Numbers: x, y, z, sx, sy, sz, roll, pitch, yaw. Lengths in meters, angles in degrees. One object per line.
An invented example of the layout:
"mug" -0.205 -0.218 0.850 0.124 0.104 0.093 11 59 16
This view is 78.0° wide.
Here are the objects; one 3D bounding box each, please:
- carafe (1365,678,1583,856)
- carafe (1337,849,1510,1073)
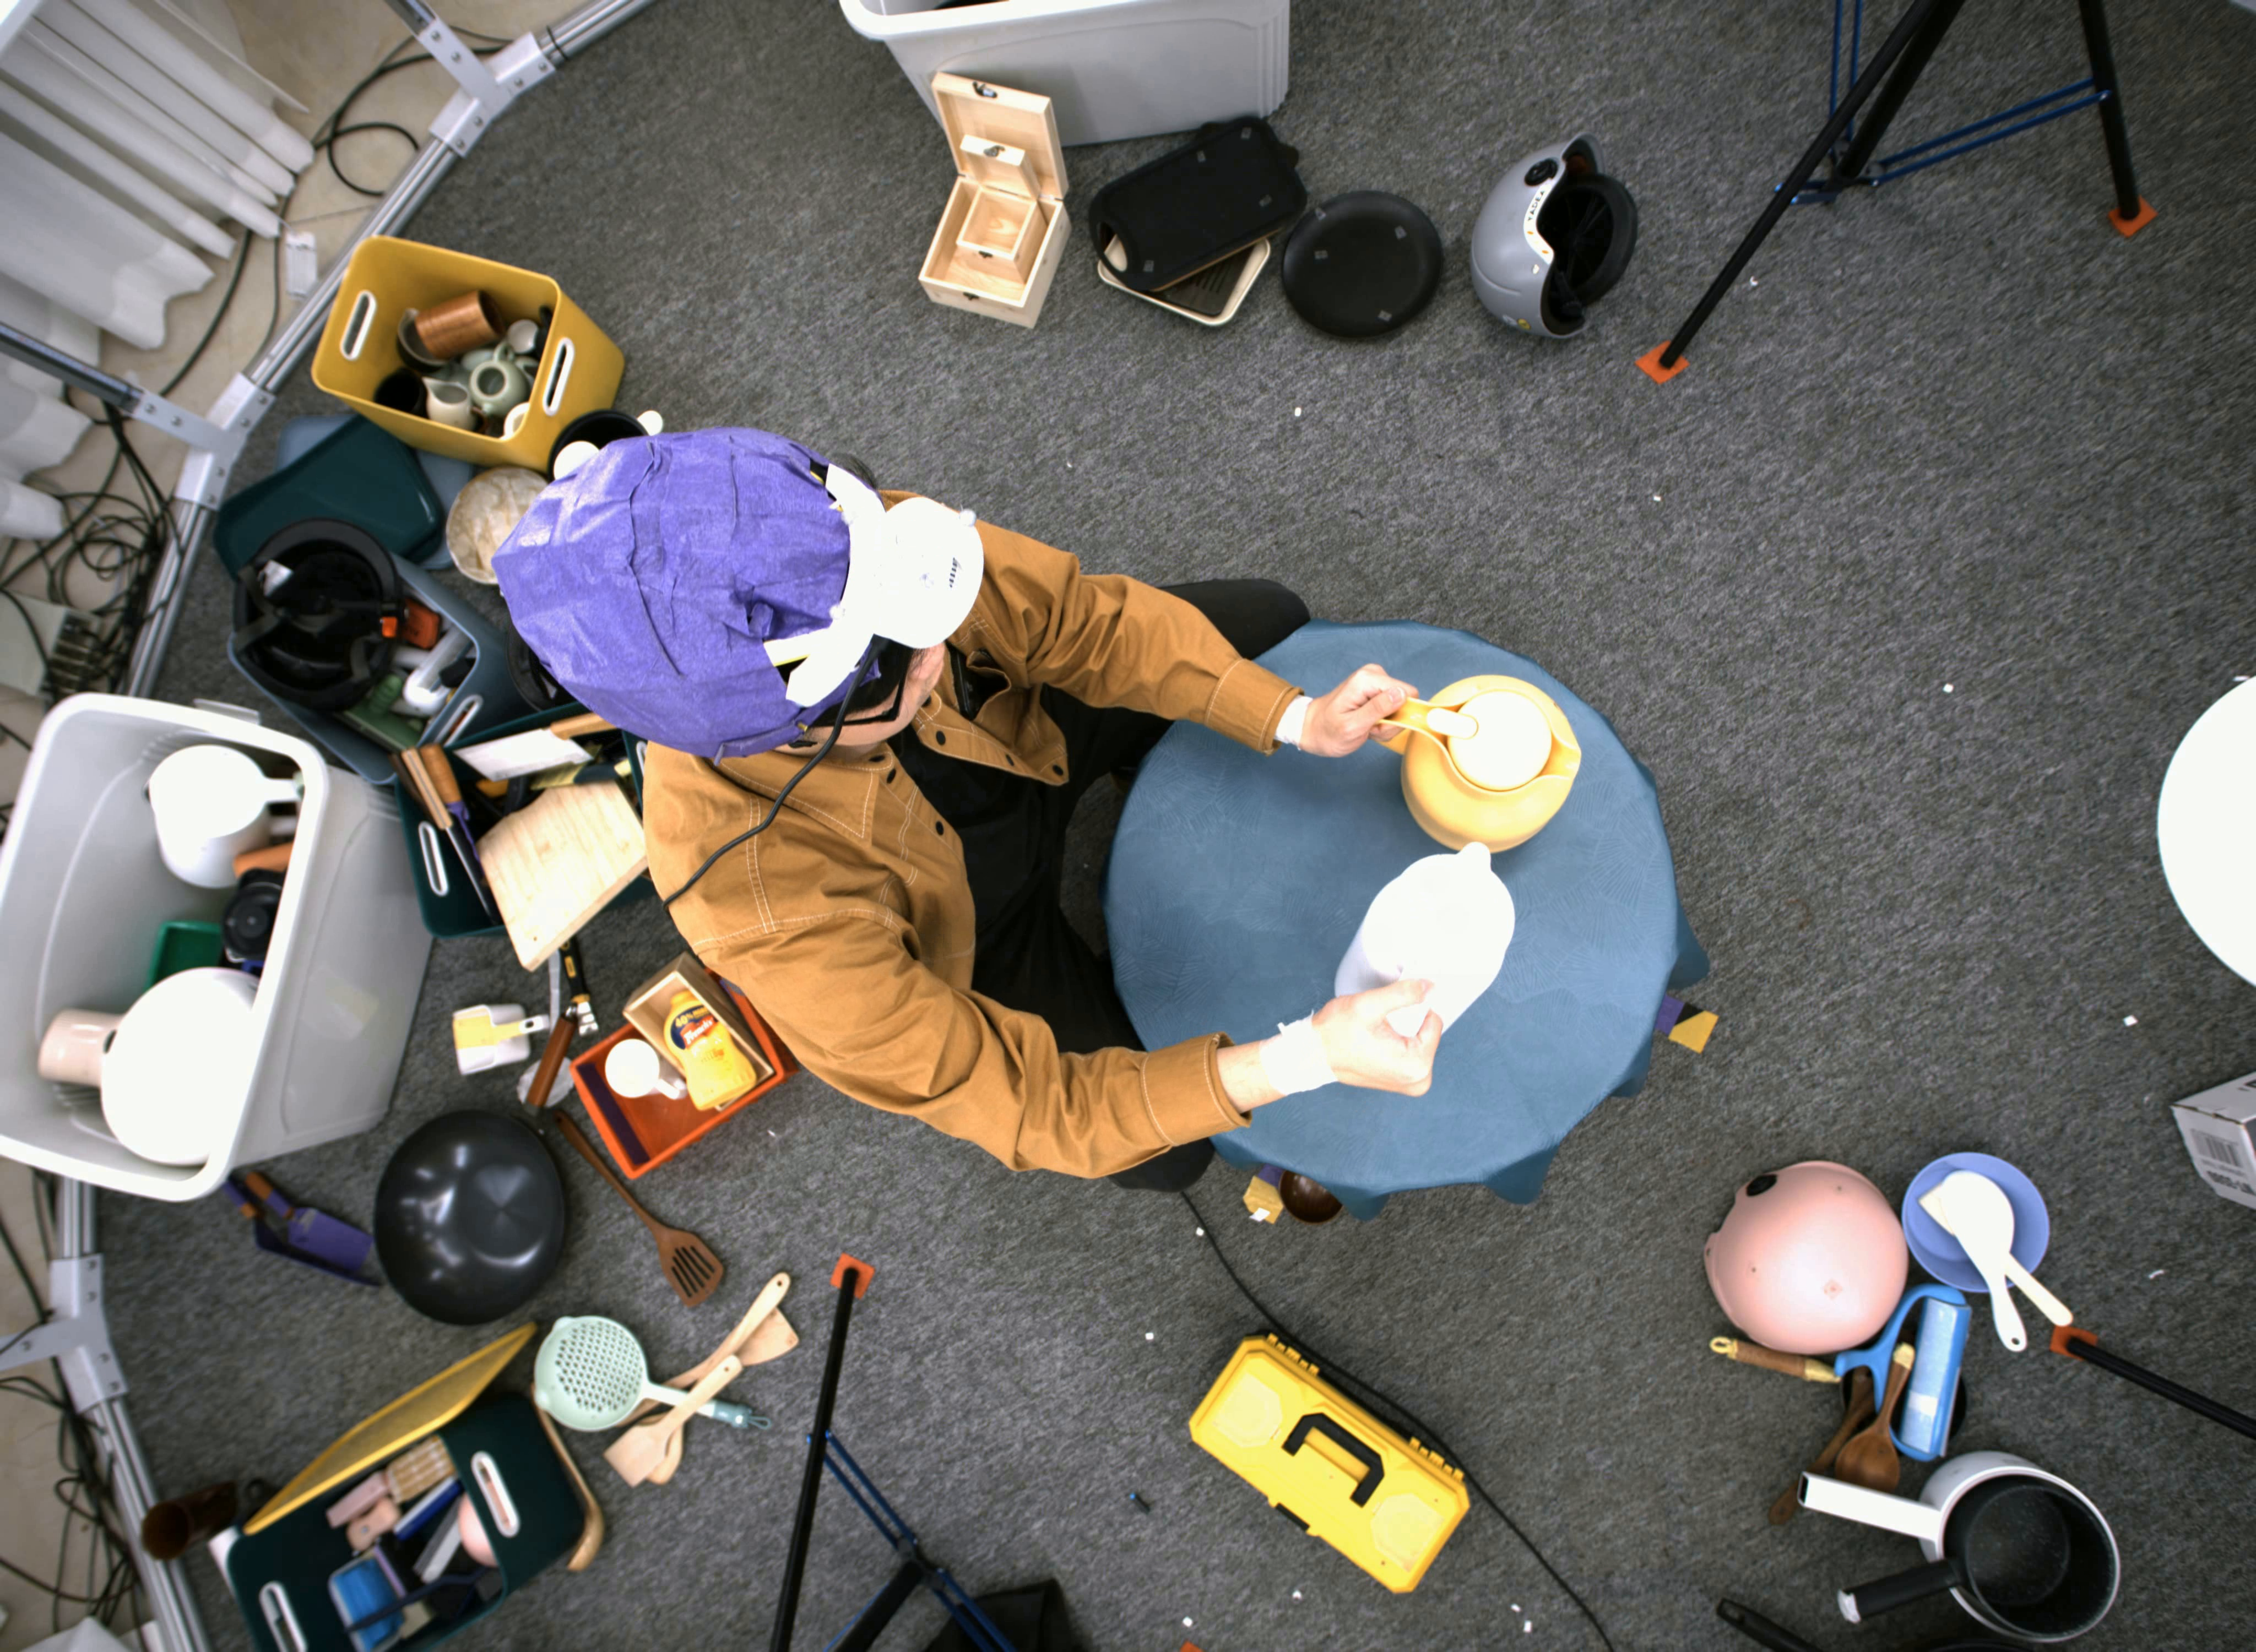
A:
"carafe" 0.329 -0.071 1.323 0.202 0.261 0.163 22 86 10
"carafe" 0.248 0.133 1.202 0.124 0.273 0.170 26 74 8
